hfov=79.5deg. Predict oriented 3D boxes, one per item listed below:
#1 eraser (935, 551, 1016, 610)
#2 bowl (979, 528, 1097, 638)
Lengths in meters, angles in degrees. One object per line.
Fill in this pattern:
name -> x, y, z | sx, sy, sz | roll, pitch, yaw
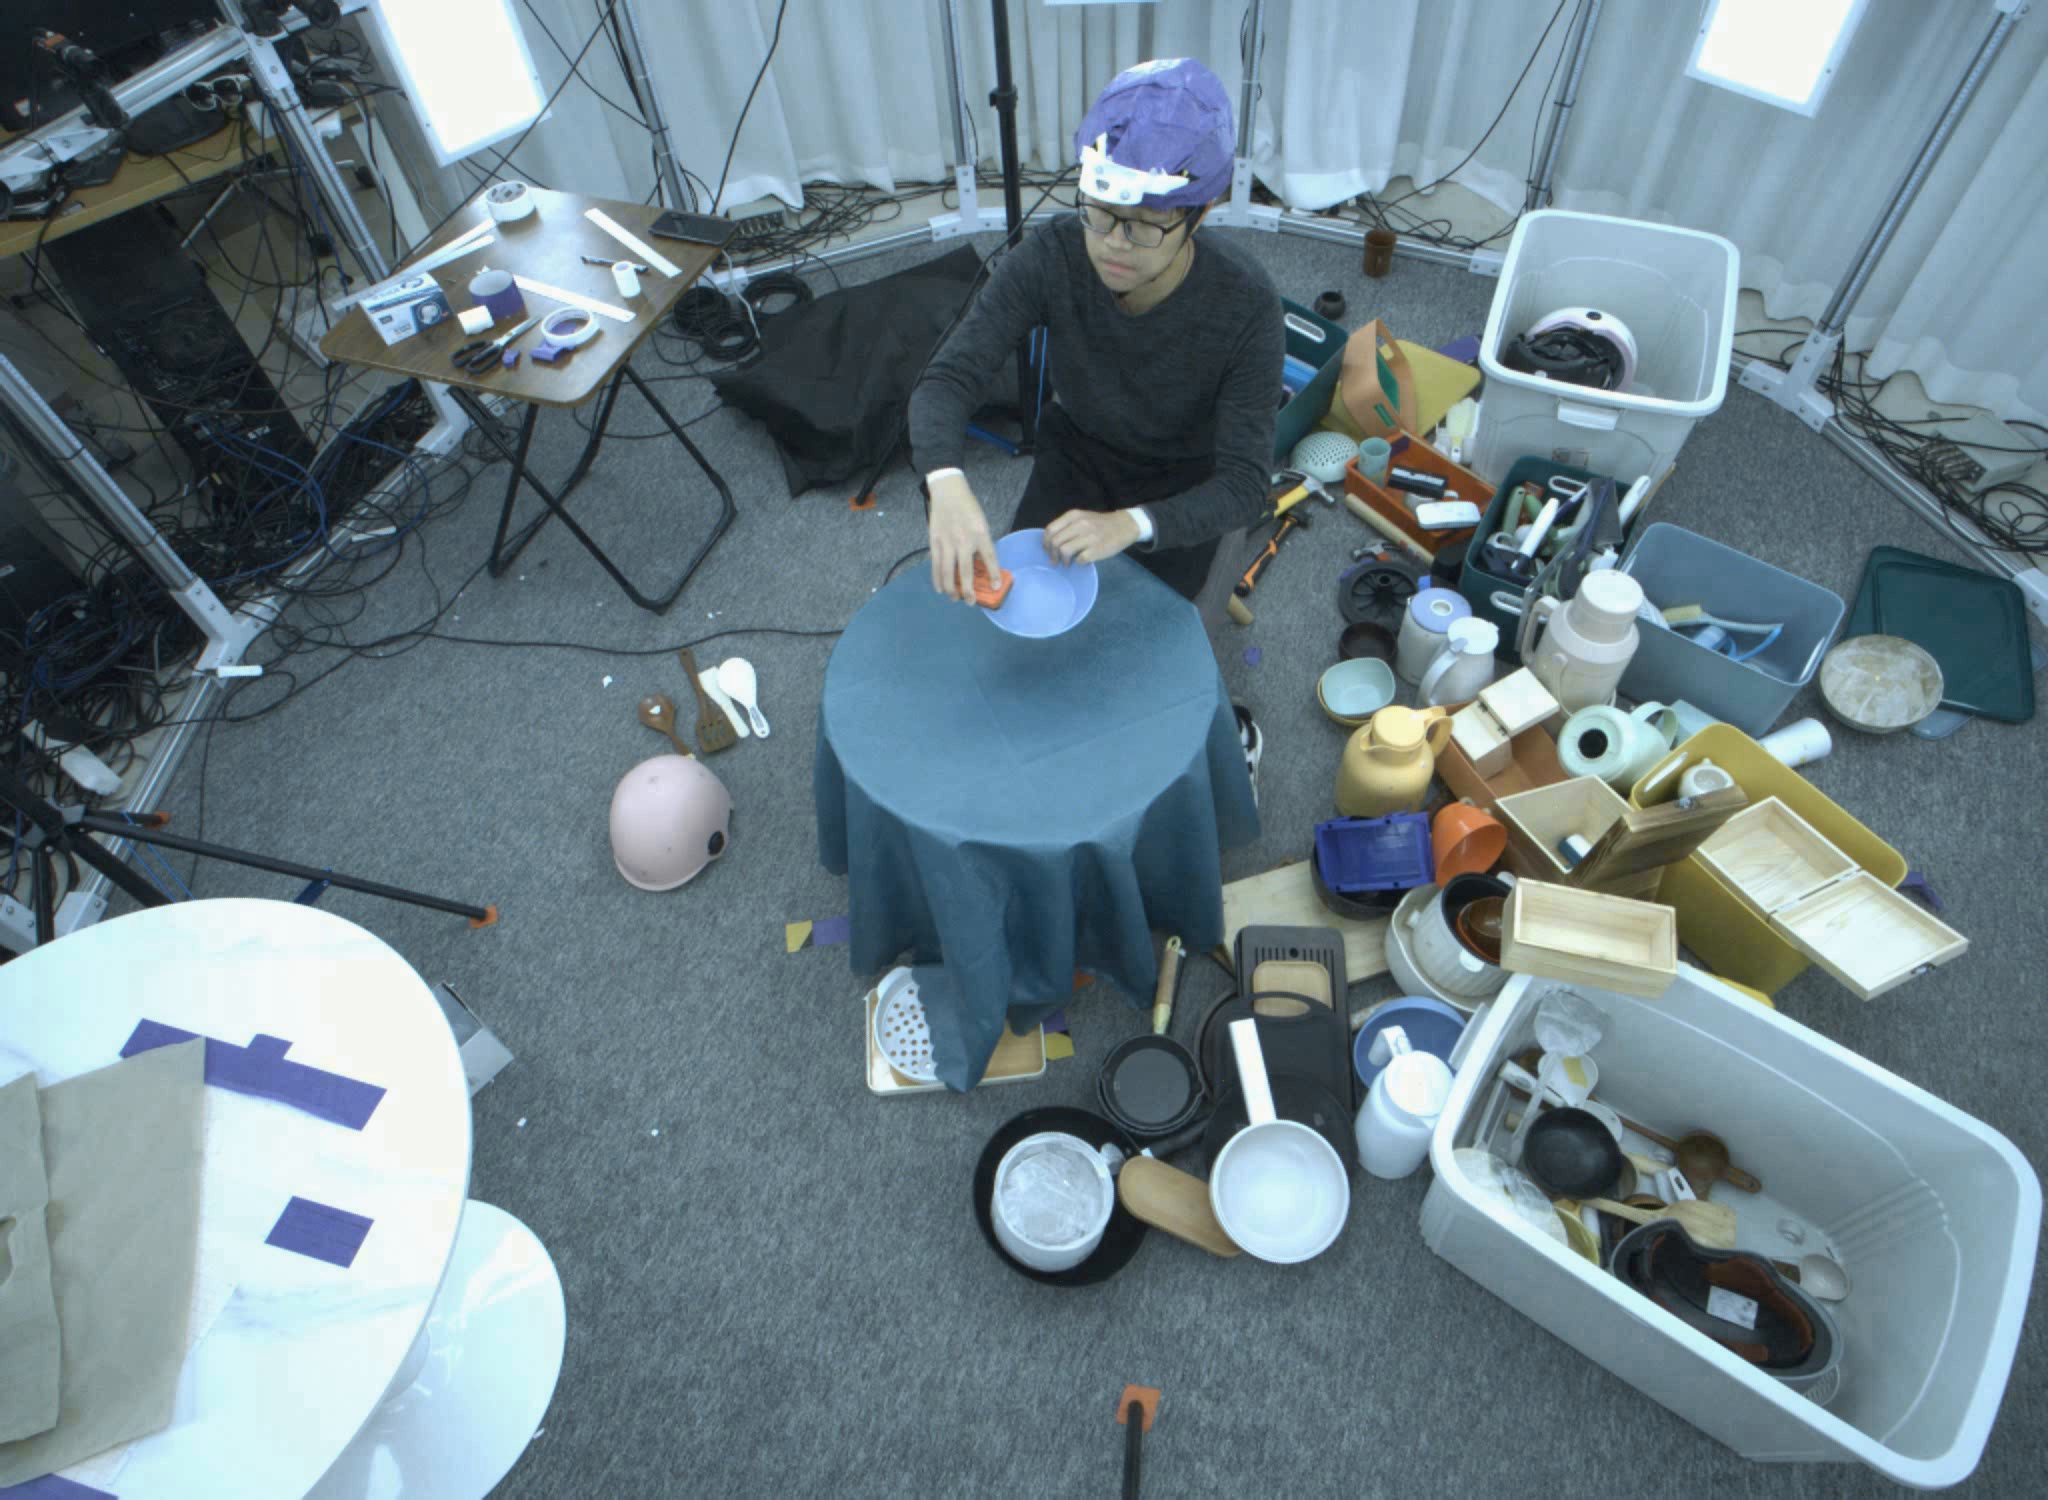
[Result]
eraser -> -0.069, -0.241, 1.744 | 0.106, 0.023, 0.059 | 22, 75, 17
bowl -> 0.017, -0.231, 1.790 | 0.176, 0.070, 0.175 | 1, 72, -2
